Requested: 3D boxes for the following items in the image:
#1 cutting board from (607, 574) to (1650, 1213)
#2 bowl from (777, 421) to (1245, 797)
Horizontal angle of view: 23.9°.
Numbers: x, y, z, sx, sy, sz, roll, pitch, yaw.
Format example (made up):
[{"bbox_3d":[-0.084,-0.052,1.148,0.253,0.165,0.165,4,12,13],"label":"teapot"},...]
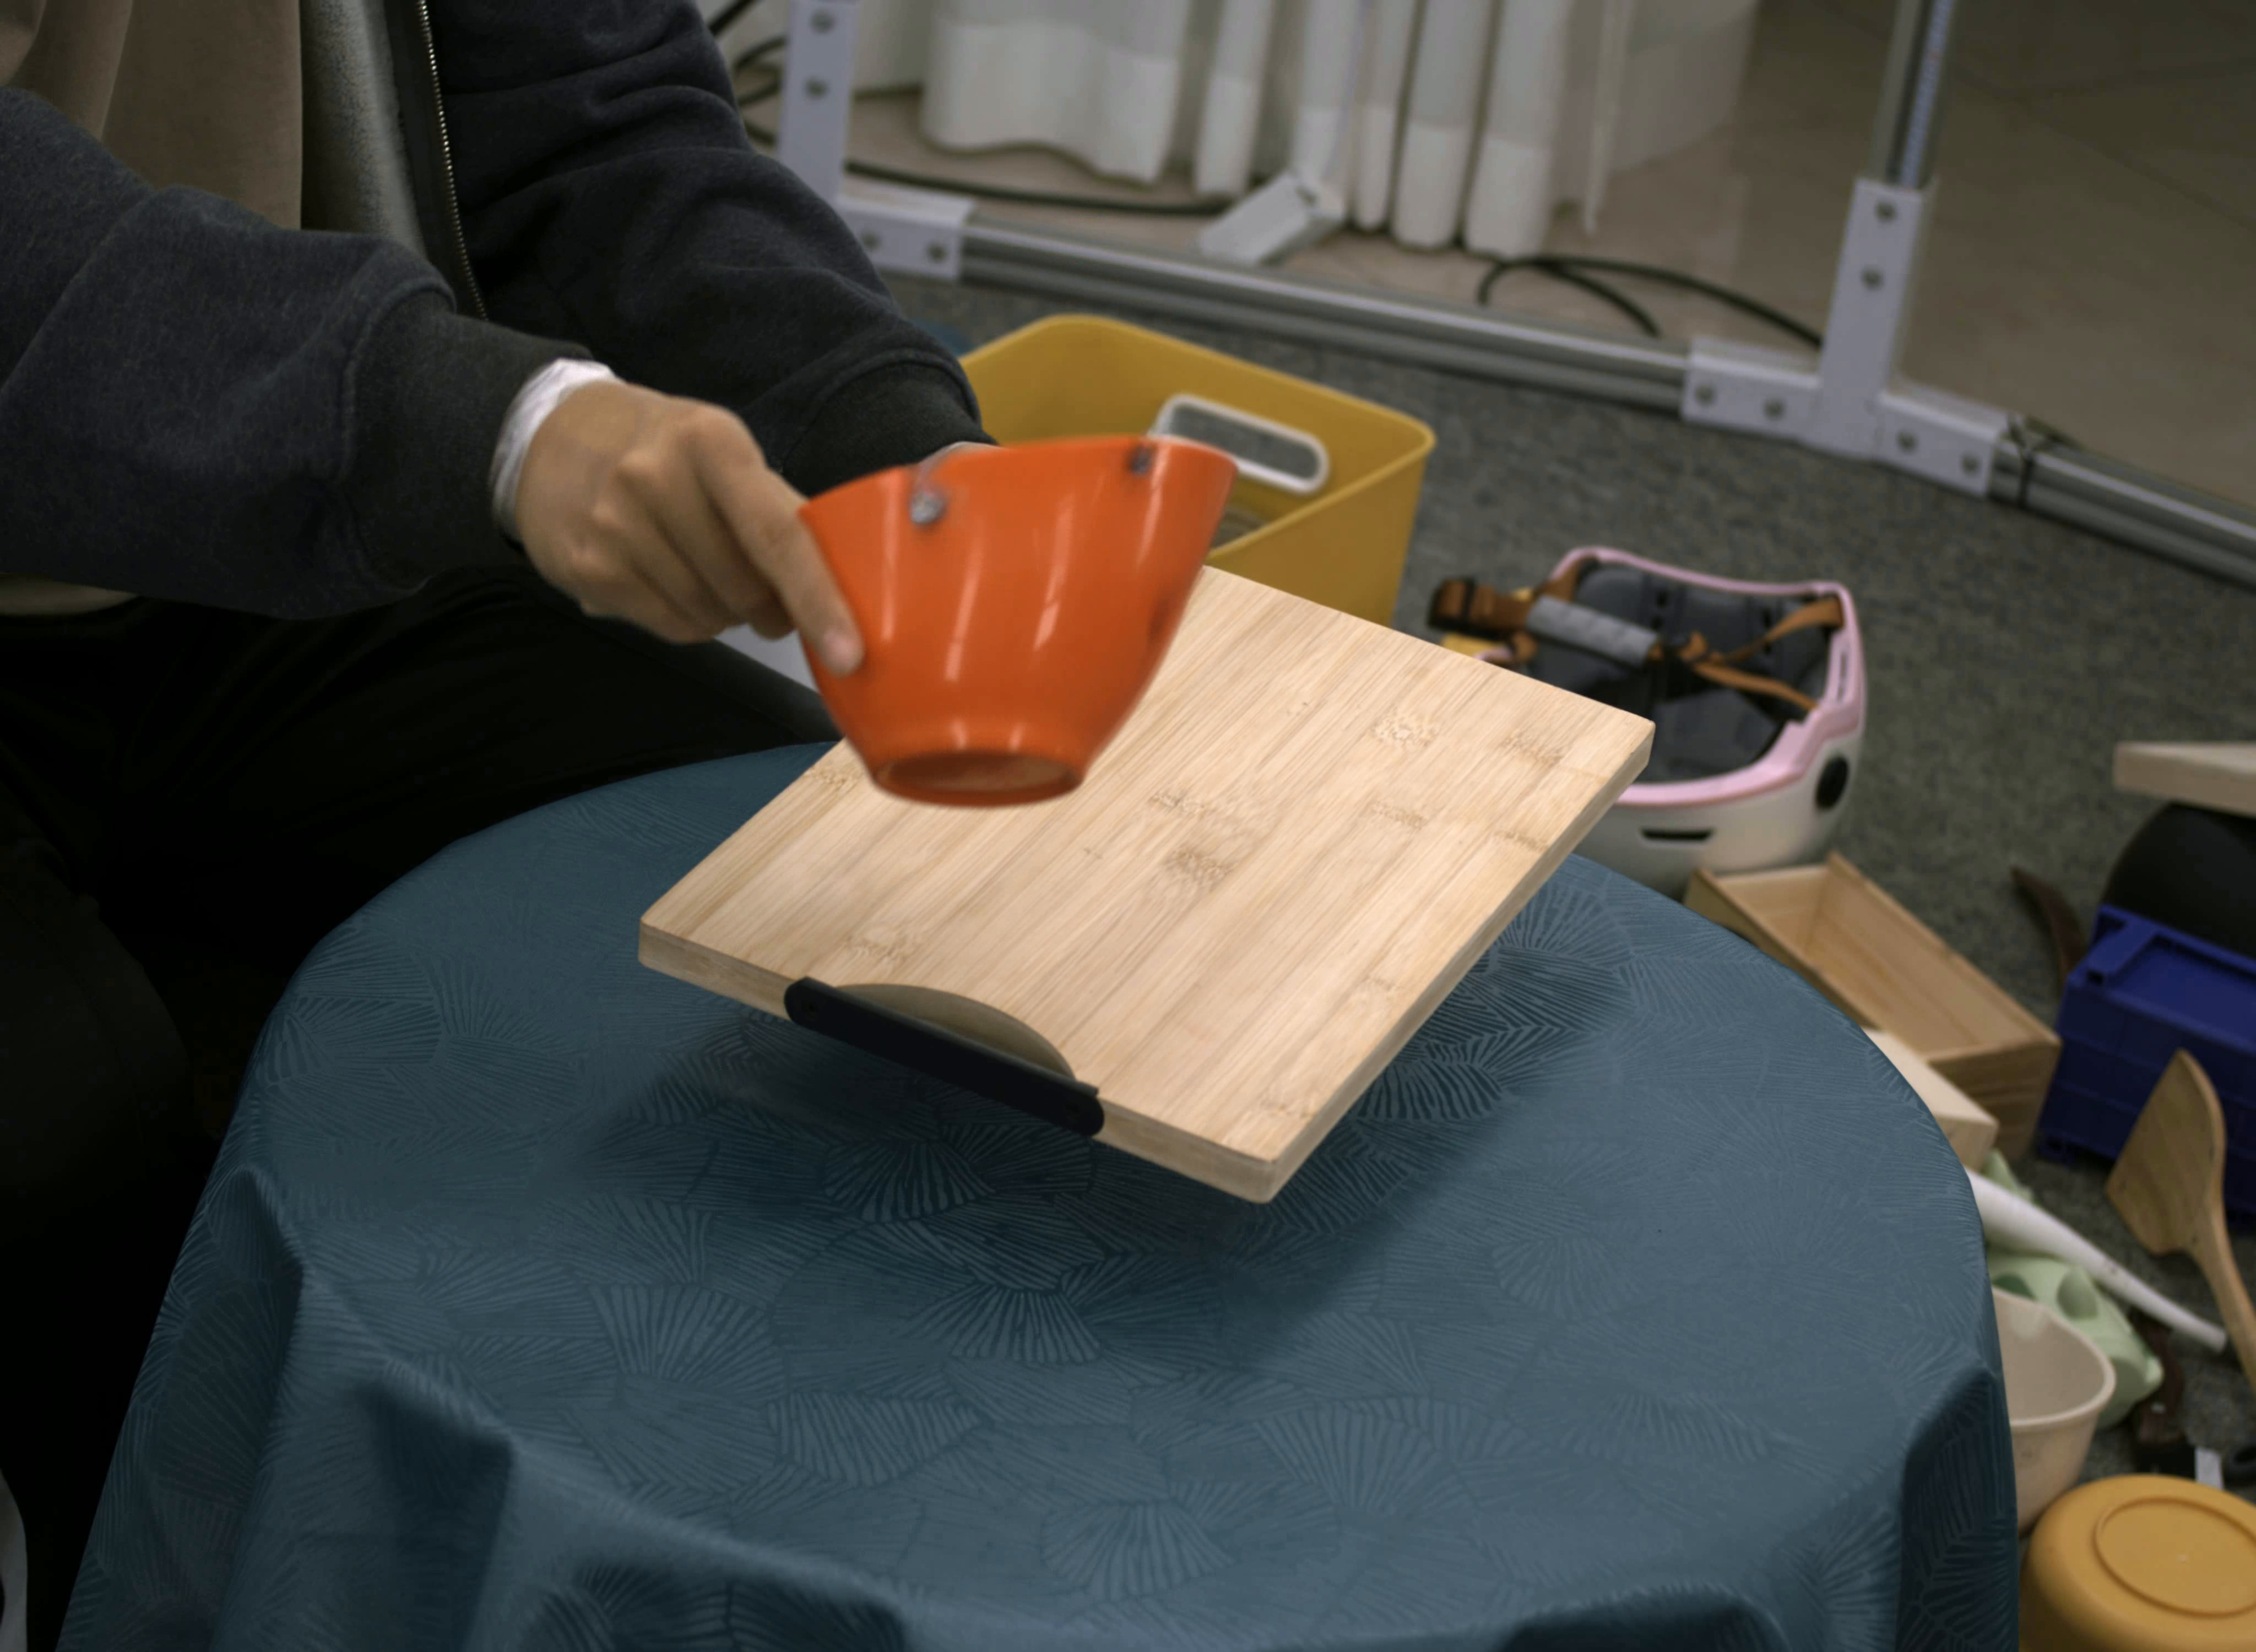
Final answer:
[{"bbox_3d":[0.010,0.007,1.881,0.251,0.023,0.348,19,33,19],"label":"cutting board"},{"bbox_3d":[-0.036,-0.066,1.663,0.147,0.105,0.147,1,-16,0],"label":"bowl"}]
